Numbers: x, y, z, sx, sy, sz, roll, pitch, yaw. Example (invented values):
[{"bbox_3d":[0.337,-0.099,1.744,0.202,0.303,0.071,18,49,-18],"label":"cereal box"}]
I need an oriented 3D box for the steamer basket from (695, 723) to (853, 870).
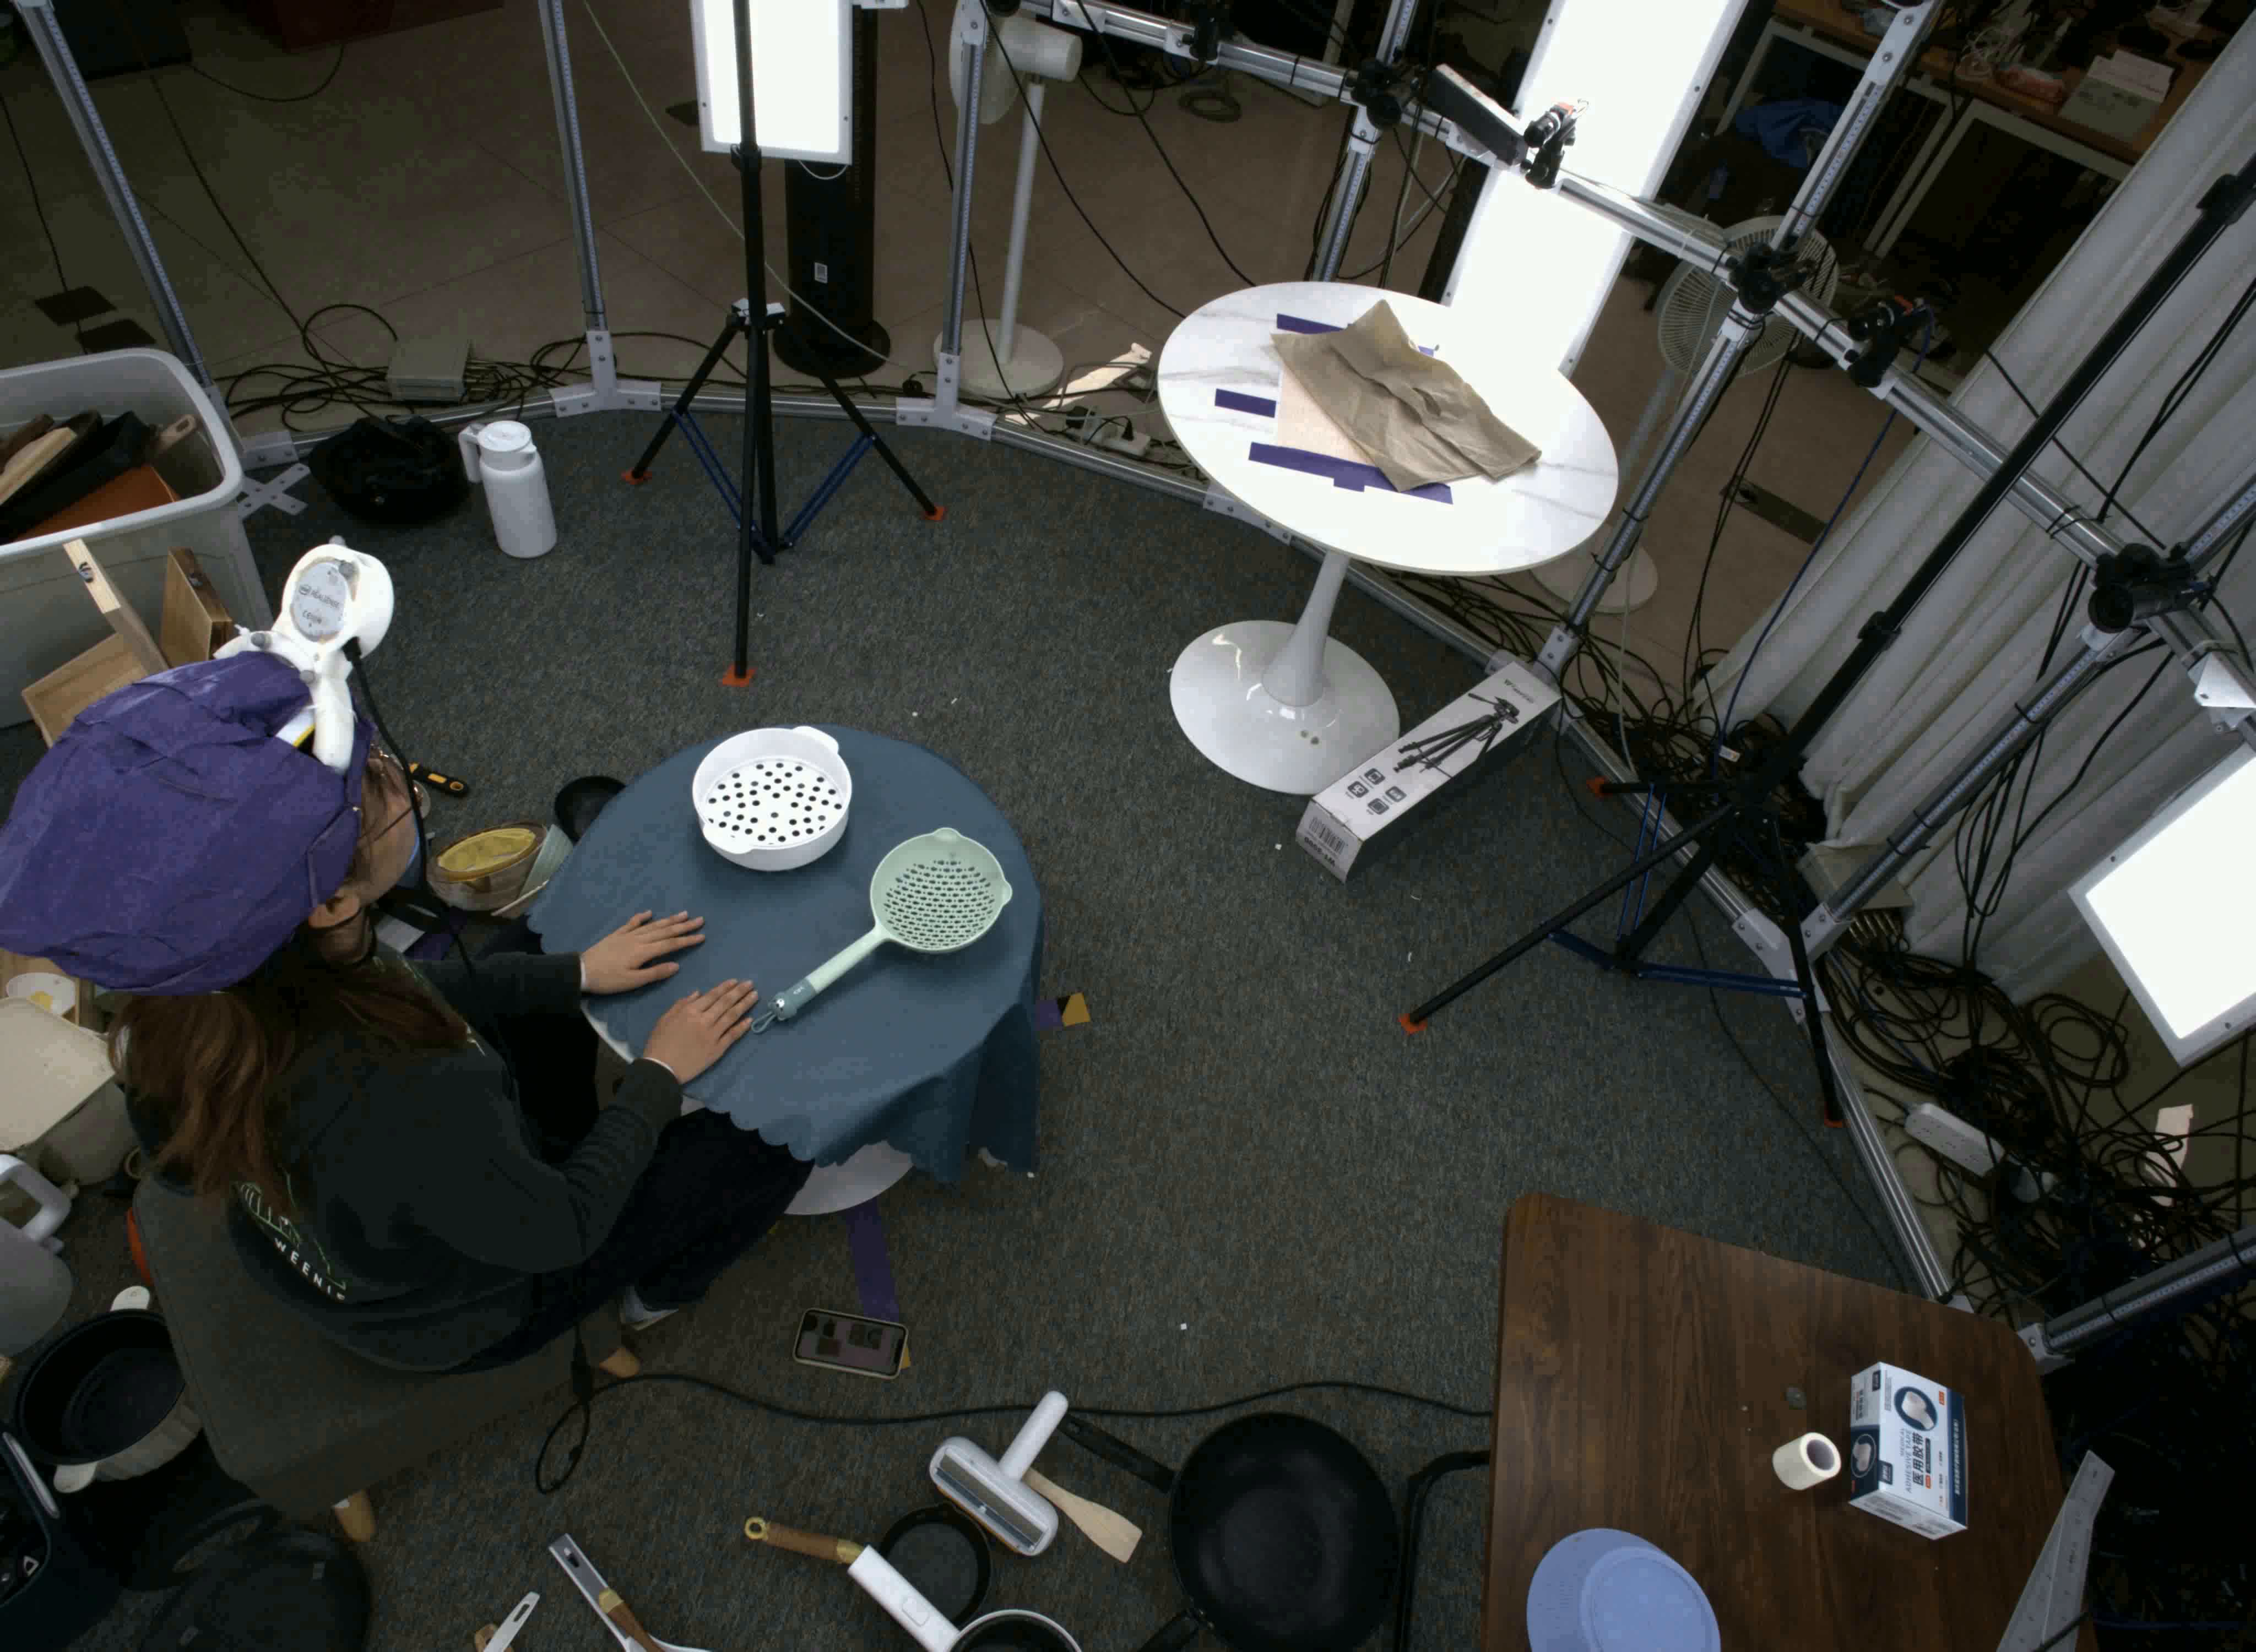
[{"bbox_3d":[-0.463,-0.036,1.705,0.199,0.071,0.229,25,52,6],"label":"steamer basket"}]

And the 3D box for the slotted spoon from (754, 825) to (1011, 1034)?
[{"bbox_3d":[-0.311,0.137,1.614,0.360,0.077,0.165,-33,67,-32],"label":"slotted spoon"}]
